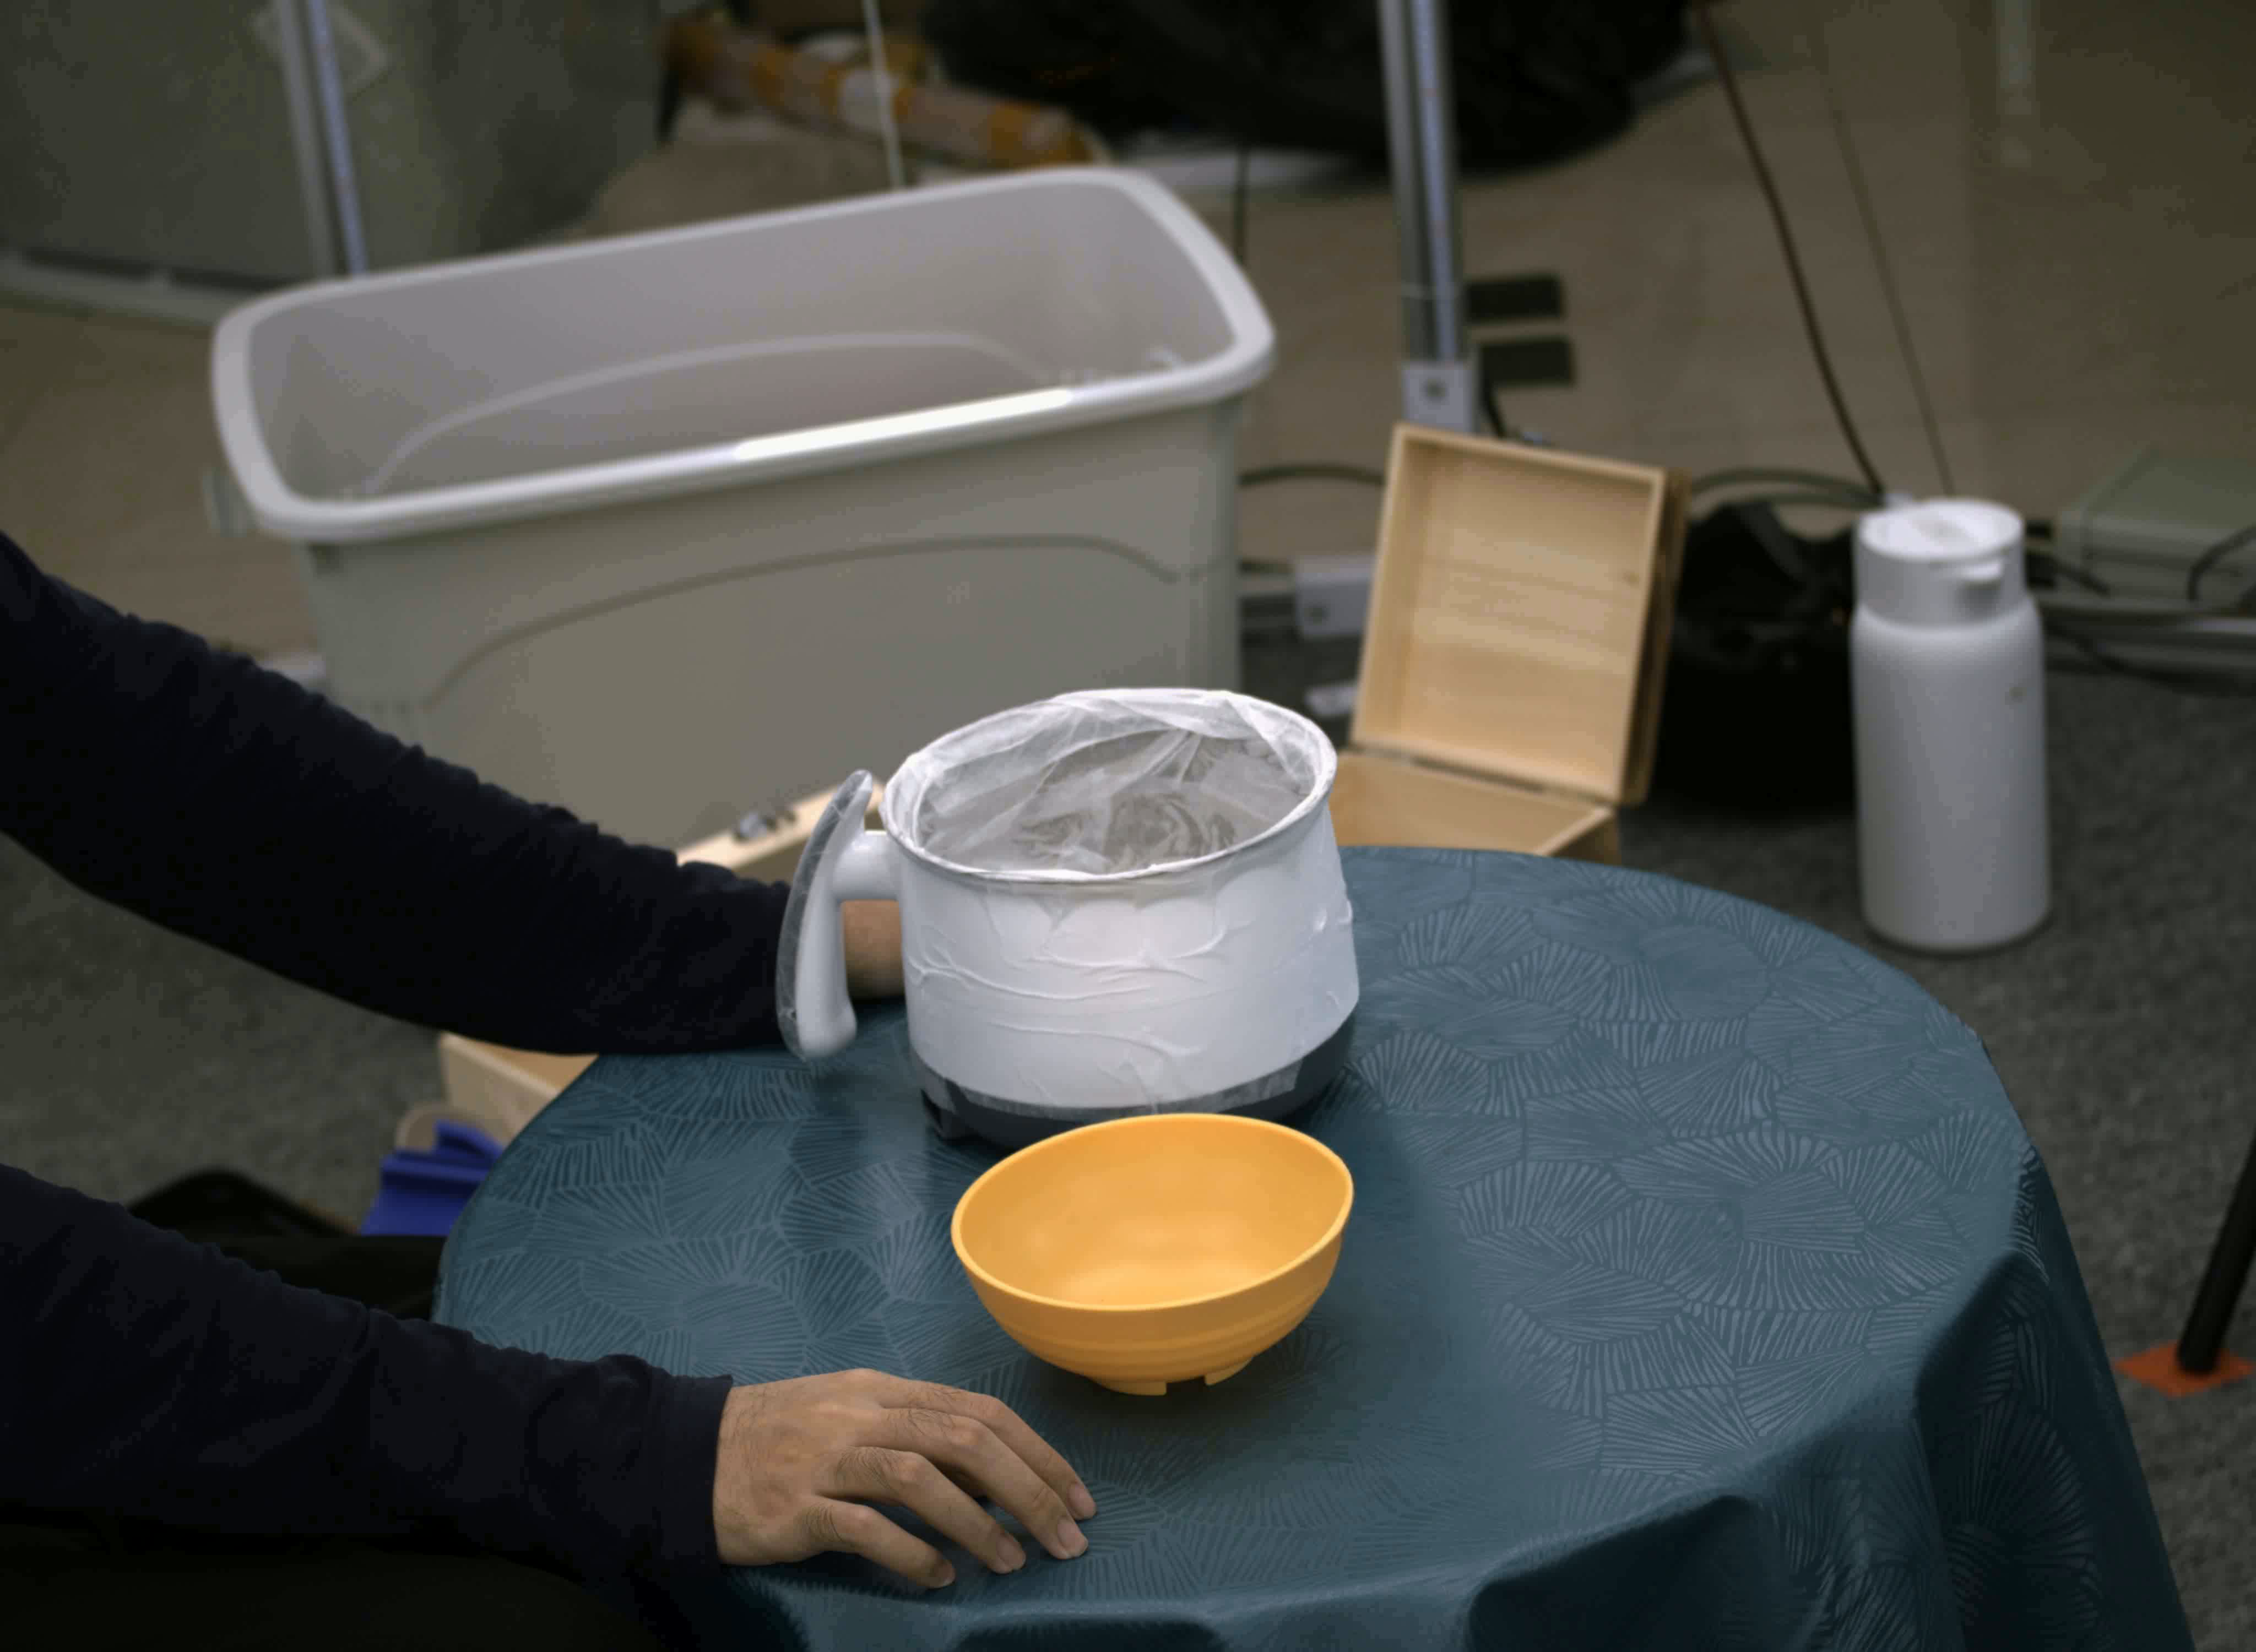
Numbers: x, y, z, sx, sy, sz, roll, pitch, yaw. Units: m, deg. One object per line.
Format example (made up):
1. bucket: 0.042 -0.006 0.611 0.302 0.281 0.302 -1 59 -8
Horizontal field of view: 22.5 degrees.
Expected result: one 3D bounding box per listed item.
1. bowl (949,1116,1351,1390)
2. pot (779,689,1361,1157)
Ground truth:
1. bowl: 0.010 0.160 2.027 0.145 0.061 0.143 -4 24 2
2. pot: -0.027 0.042 2.208 0.233 0.139 0.176 -2 26 13
